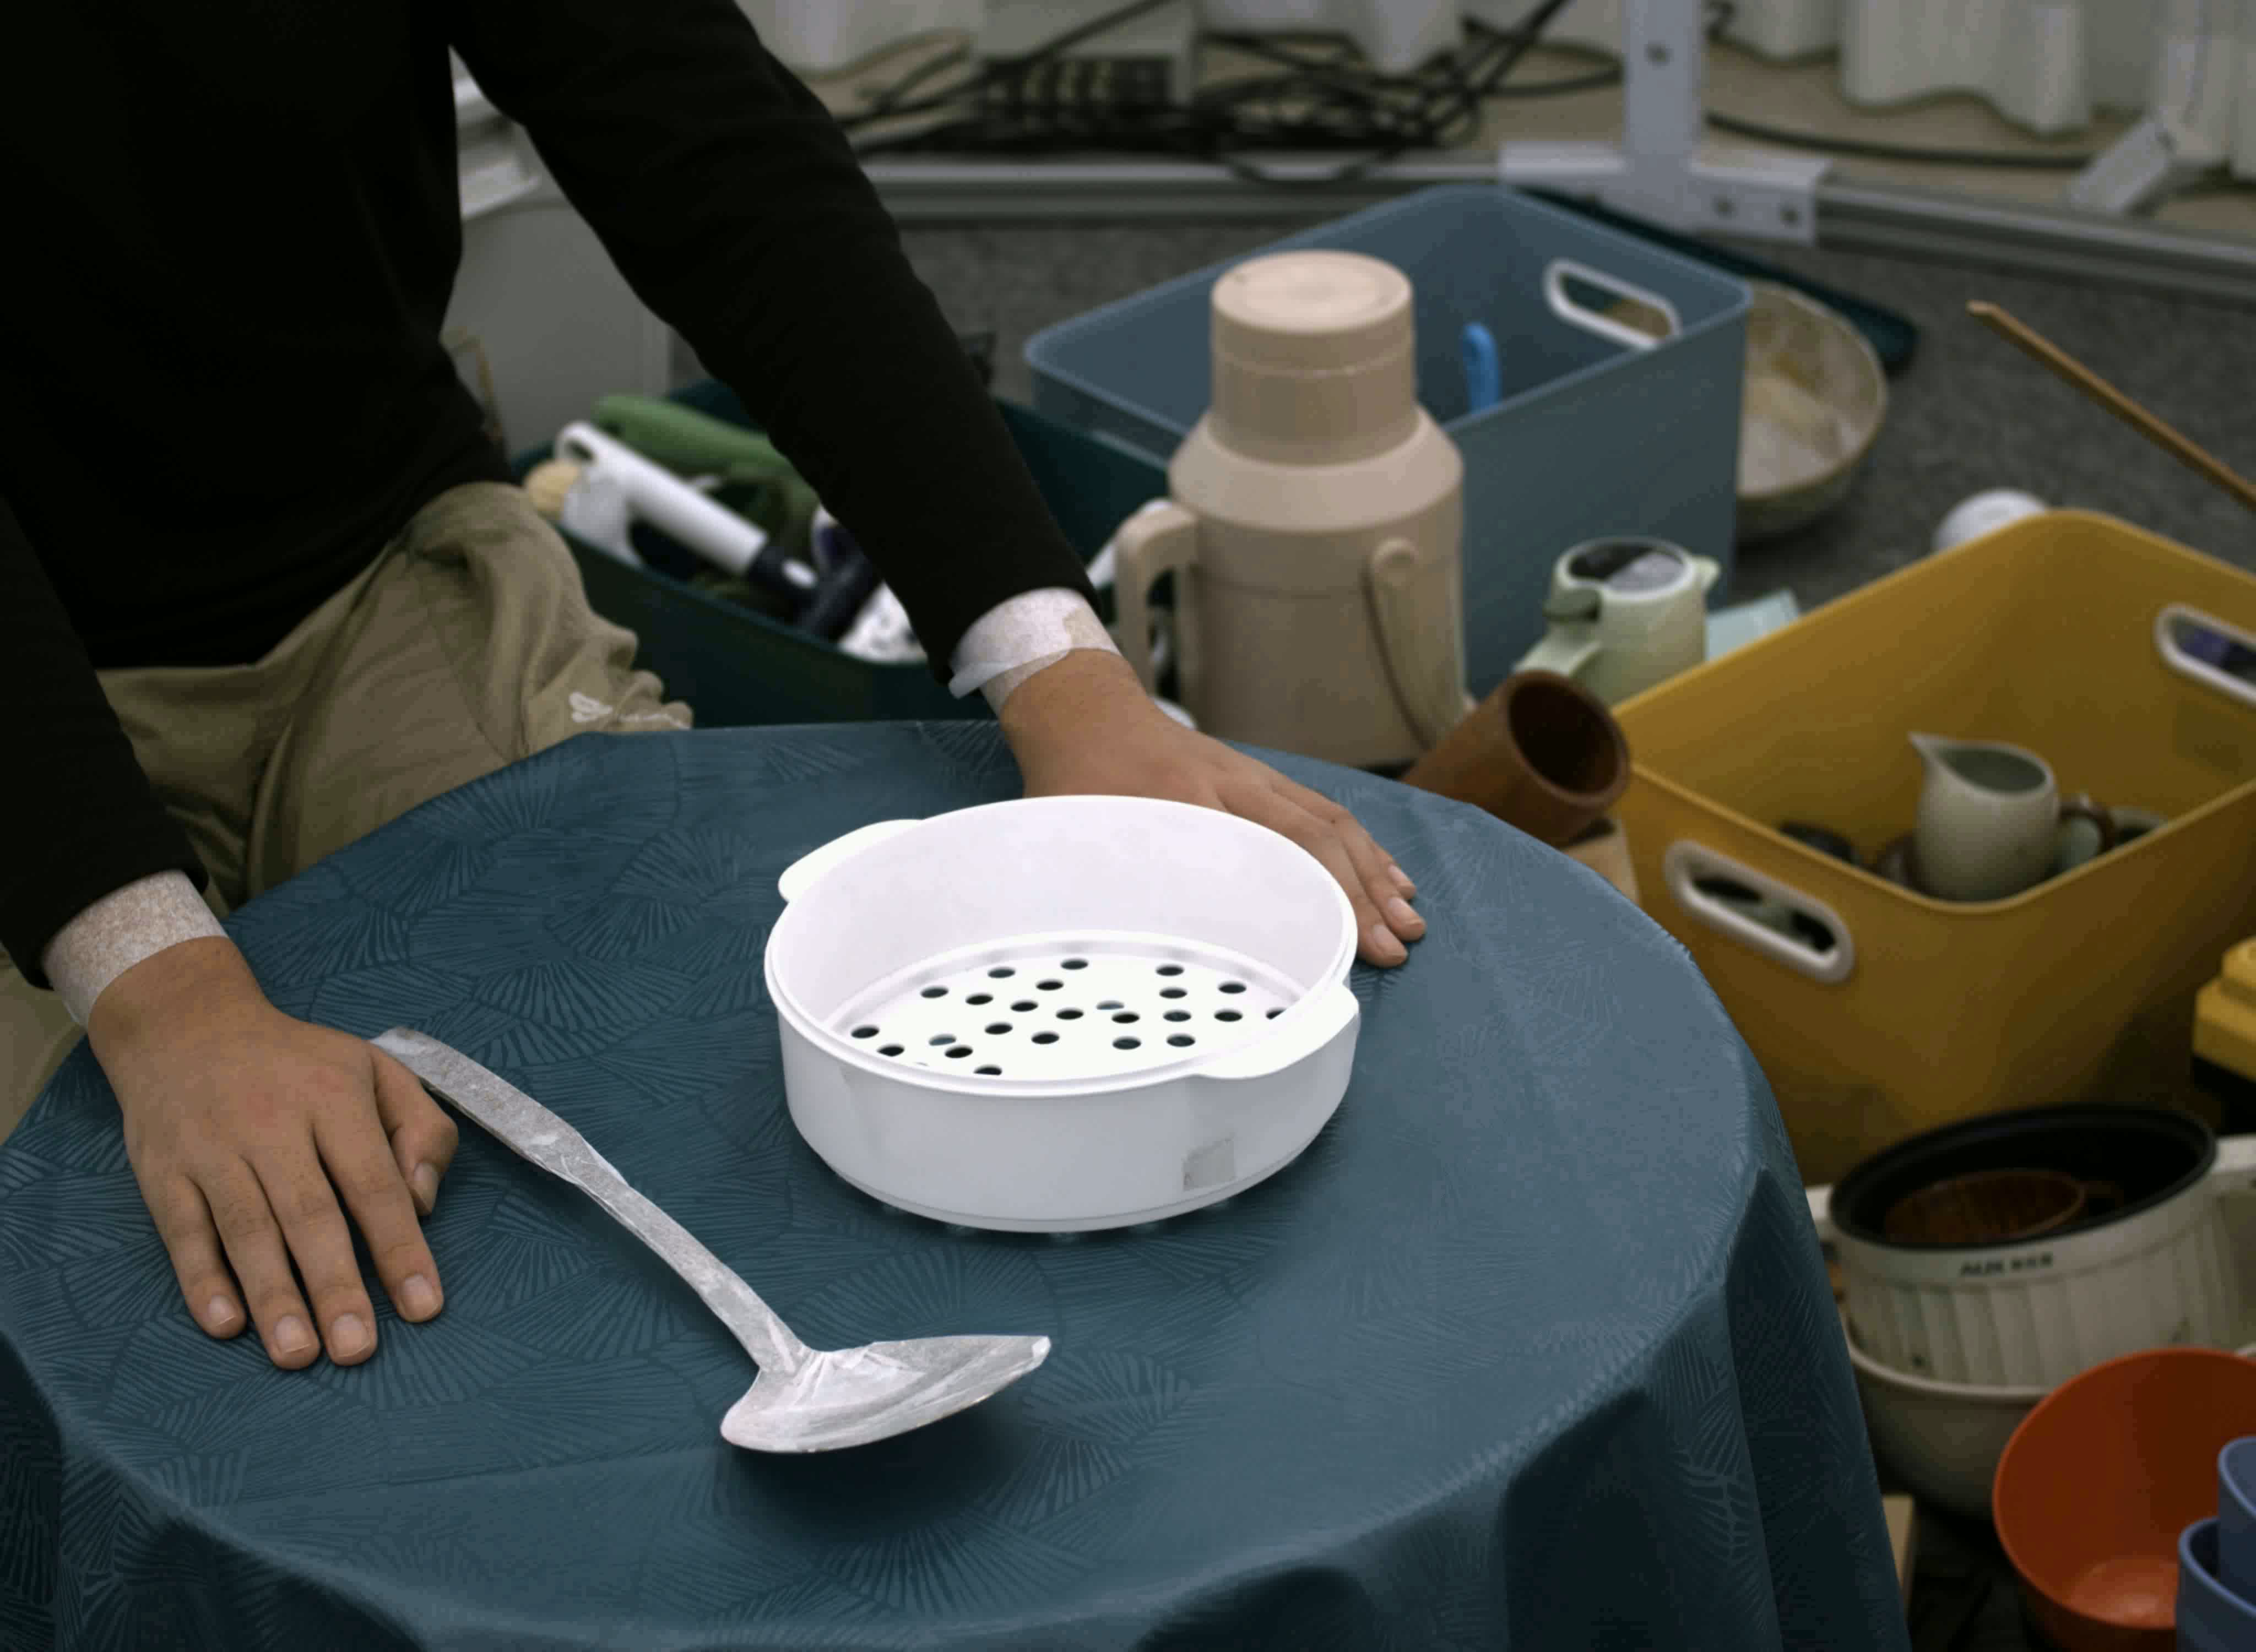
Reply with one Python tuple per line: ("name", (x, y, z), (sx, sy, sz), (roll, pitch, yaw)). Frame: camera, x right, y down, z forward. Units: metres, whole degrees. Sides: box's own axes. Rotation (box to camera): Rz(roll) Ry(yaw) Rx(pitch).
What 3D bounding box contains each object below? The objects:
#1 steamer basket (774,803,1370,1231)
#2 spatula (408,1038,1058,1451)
("steamer basket", (-0.017, 0.065, 1.898), (0.230, 0.068, 0.204), (20, 34, 39))
("spatula", (-0.152, 0.127, 1.826), (0.099, 0.044, 0.366), (-21, 33, -28))
